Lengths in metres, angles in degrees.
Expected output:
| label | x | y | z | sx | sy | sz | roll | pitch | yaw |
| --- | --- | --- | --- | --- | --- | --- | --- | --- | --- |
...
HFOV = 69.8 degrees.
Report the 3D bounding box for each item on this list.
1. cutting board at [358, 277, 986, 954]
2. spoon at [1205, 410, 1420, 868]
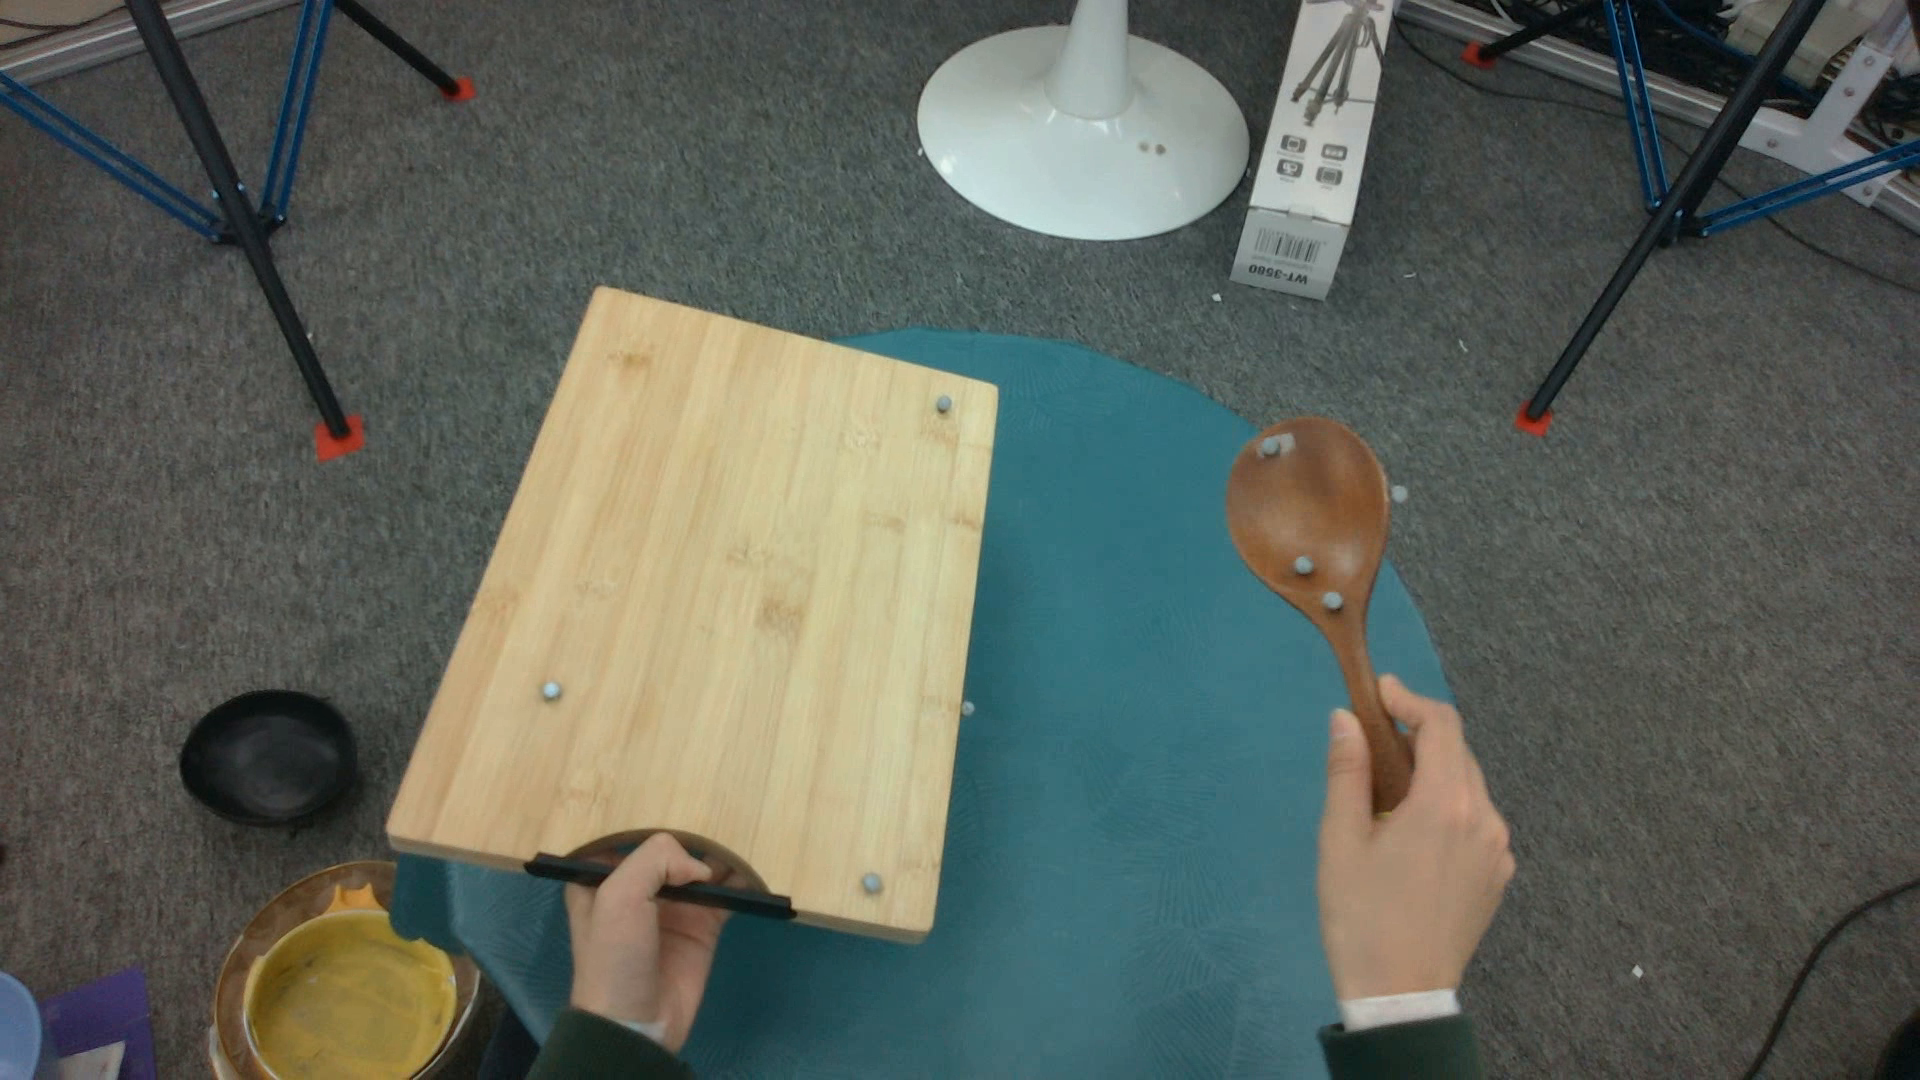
| label | x | y | z | sx | sy | sz | roll | pitch | yaw |
| --- | --- | --- | --- | --- | --- | --- | --- | --- | --- |
| cutting board | -0.121 | 0.020 | 0.704 | 0.251 | 0.023 | 0.350 | 12 | 53 | -9 |
| spoon | 0.159 | 0.036 | 0.601 | 0.075 | 0.017 | 0.216 | -18 | 59 | 17 |
